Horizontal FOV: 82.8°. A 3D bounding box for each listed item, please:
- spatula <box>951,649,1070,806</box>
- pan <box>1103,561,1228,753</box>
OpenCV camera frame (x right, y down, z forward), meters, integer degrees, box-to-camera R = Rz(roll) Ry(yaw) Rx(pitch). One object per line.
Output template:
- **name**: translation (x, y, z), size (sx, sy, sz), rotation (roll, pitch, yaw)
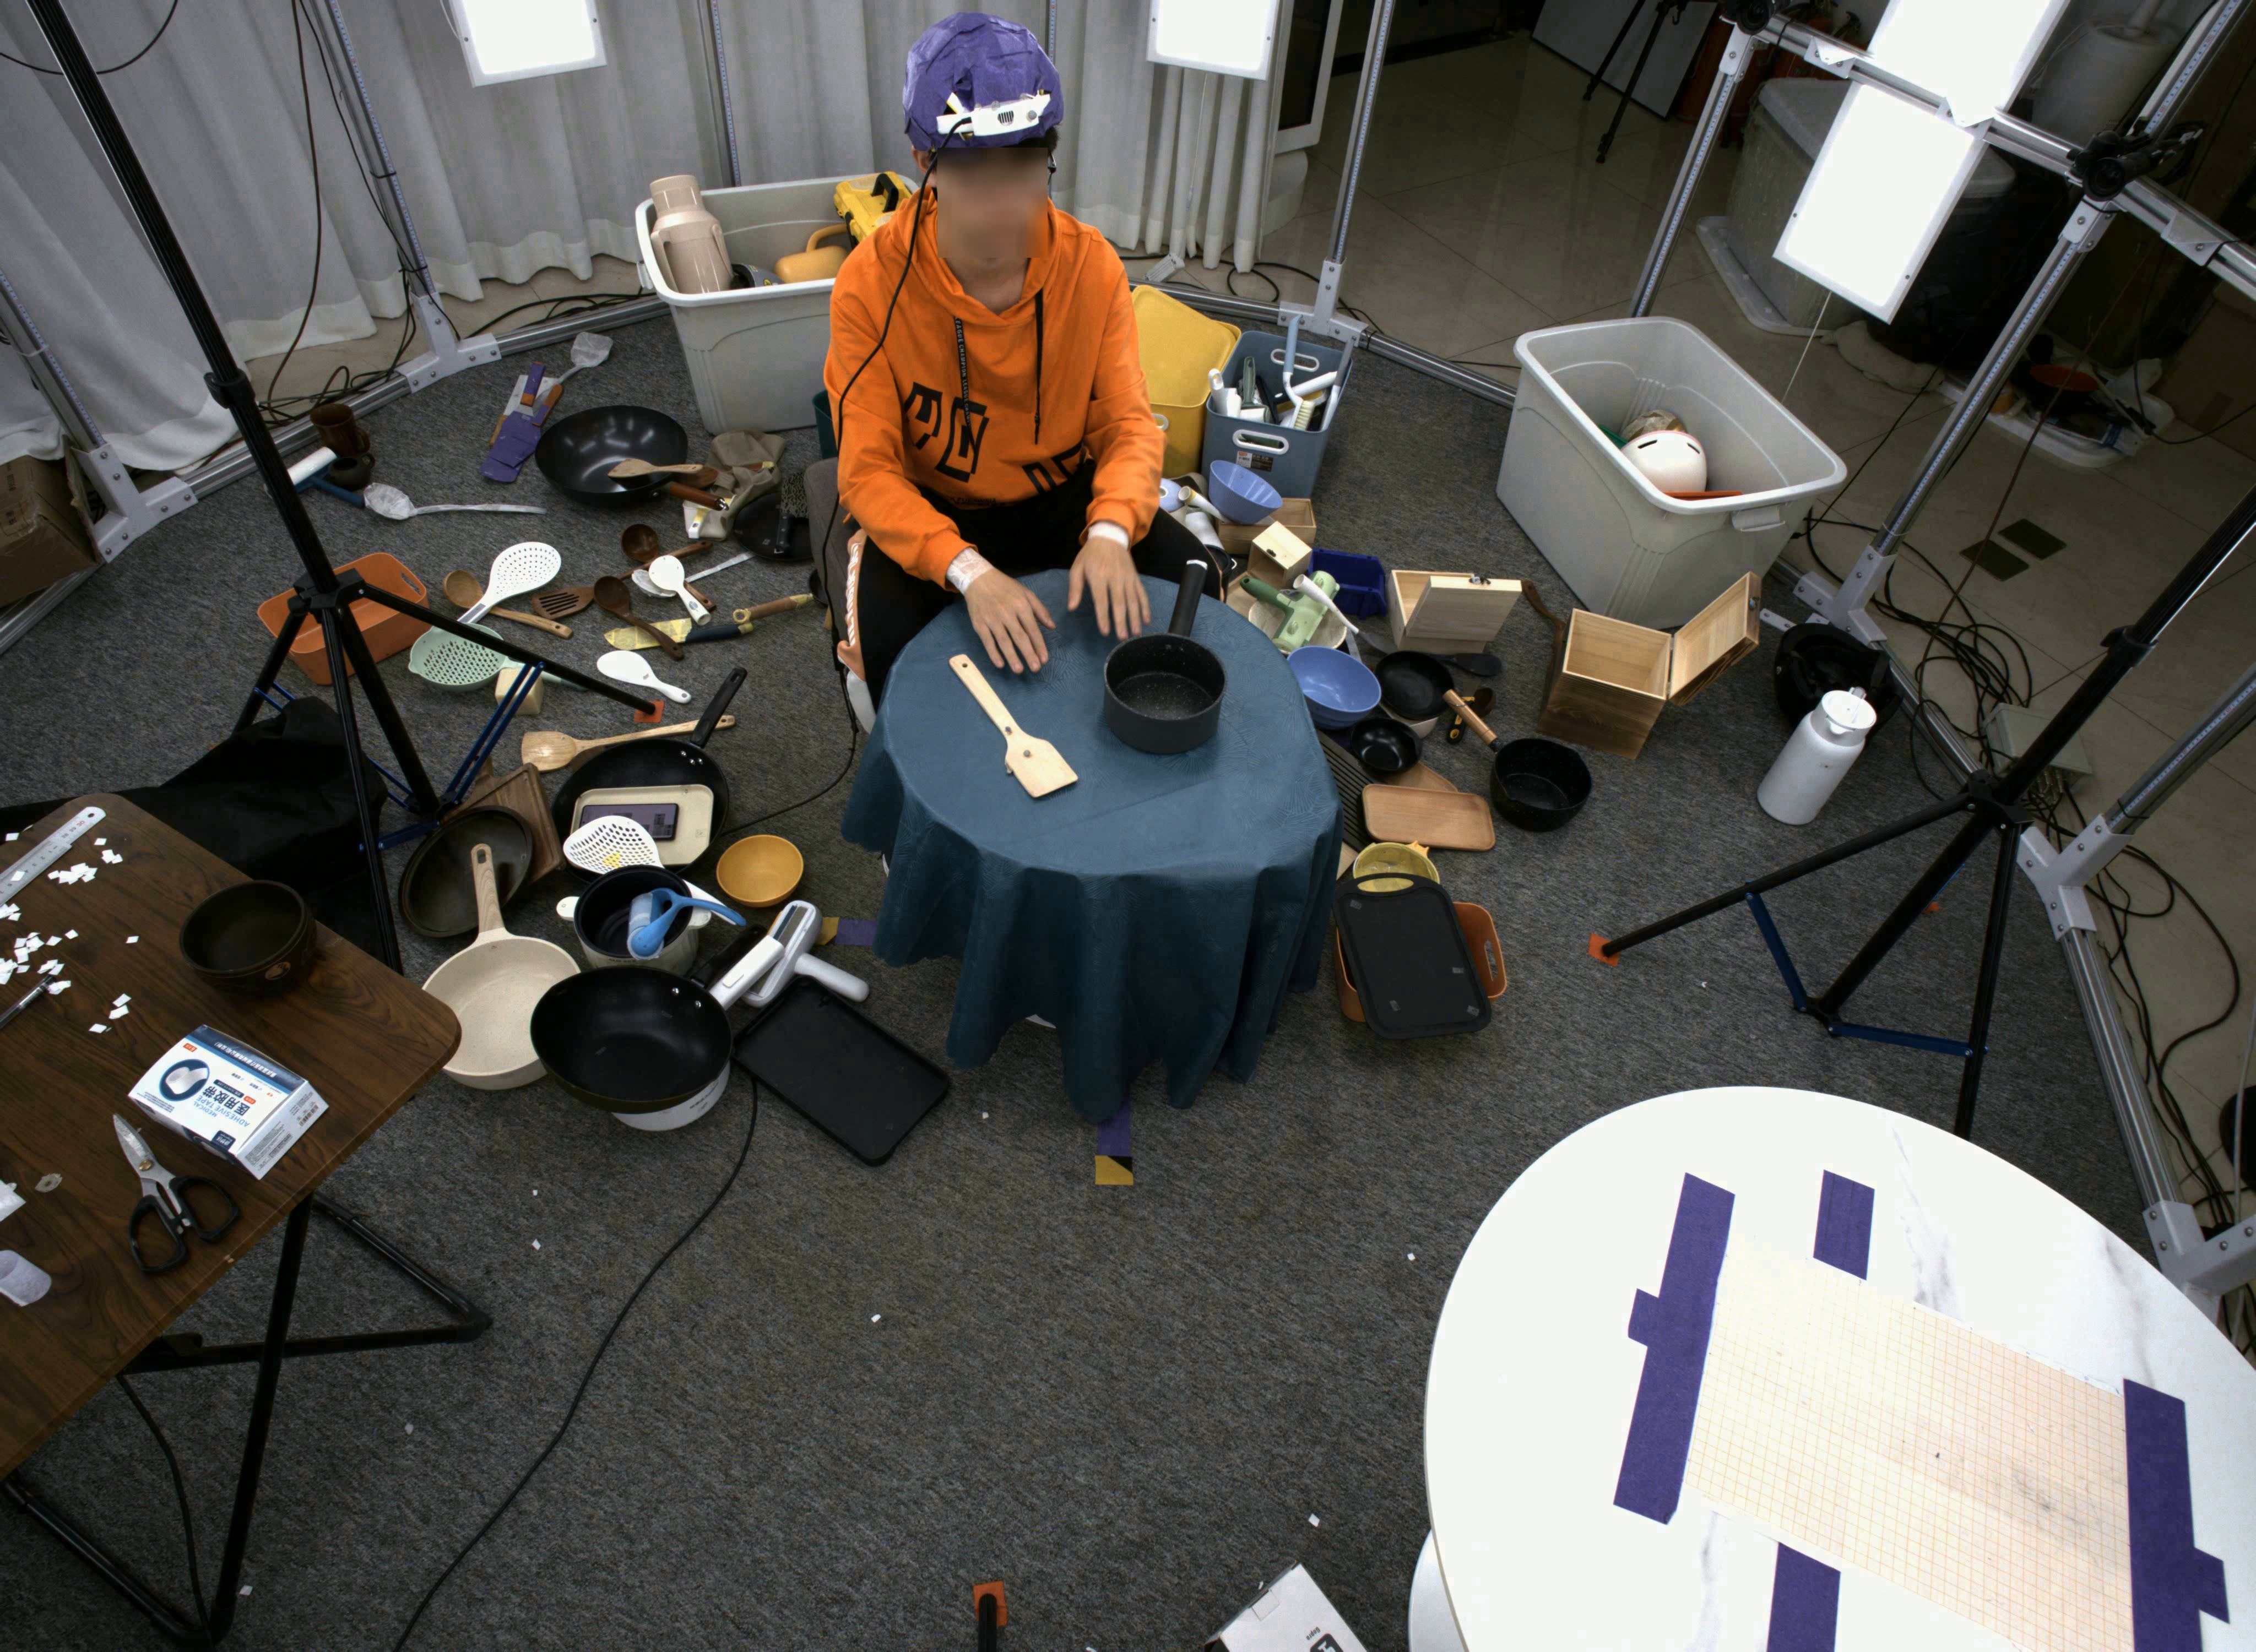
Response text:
- **spatula**: translation (-0.177, -0.145, 1.792), size (0.072, 0.010, 0.299), rotation (-25, 59, -14)
- **pan**: translation (0.069, -0.245, 1.831), size (0.172, 0.084, 0.336), rotation (14, 51, 7)
